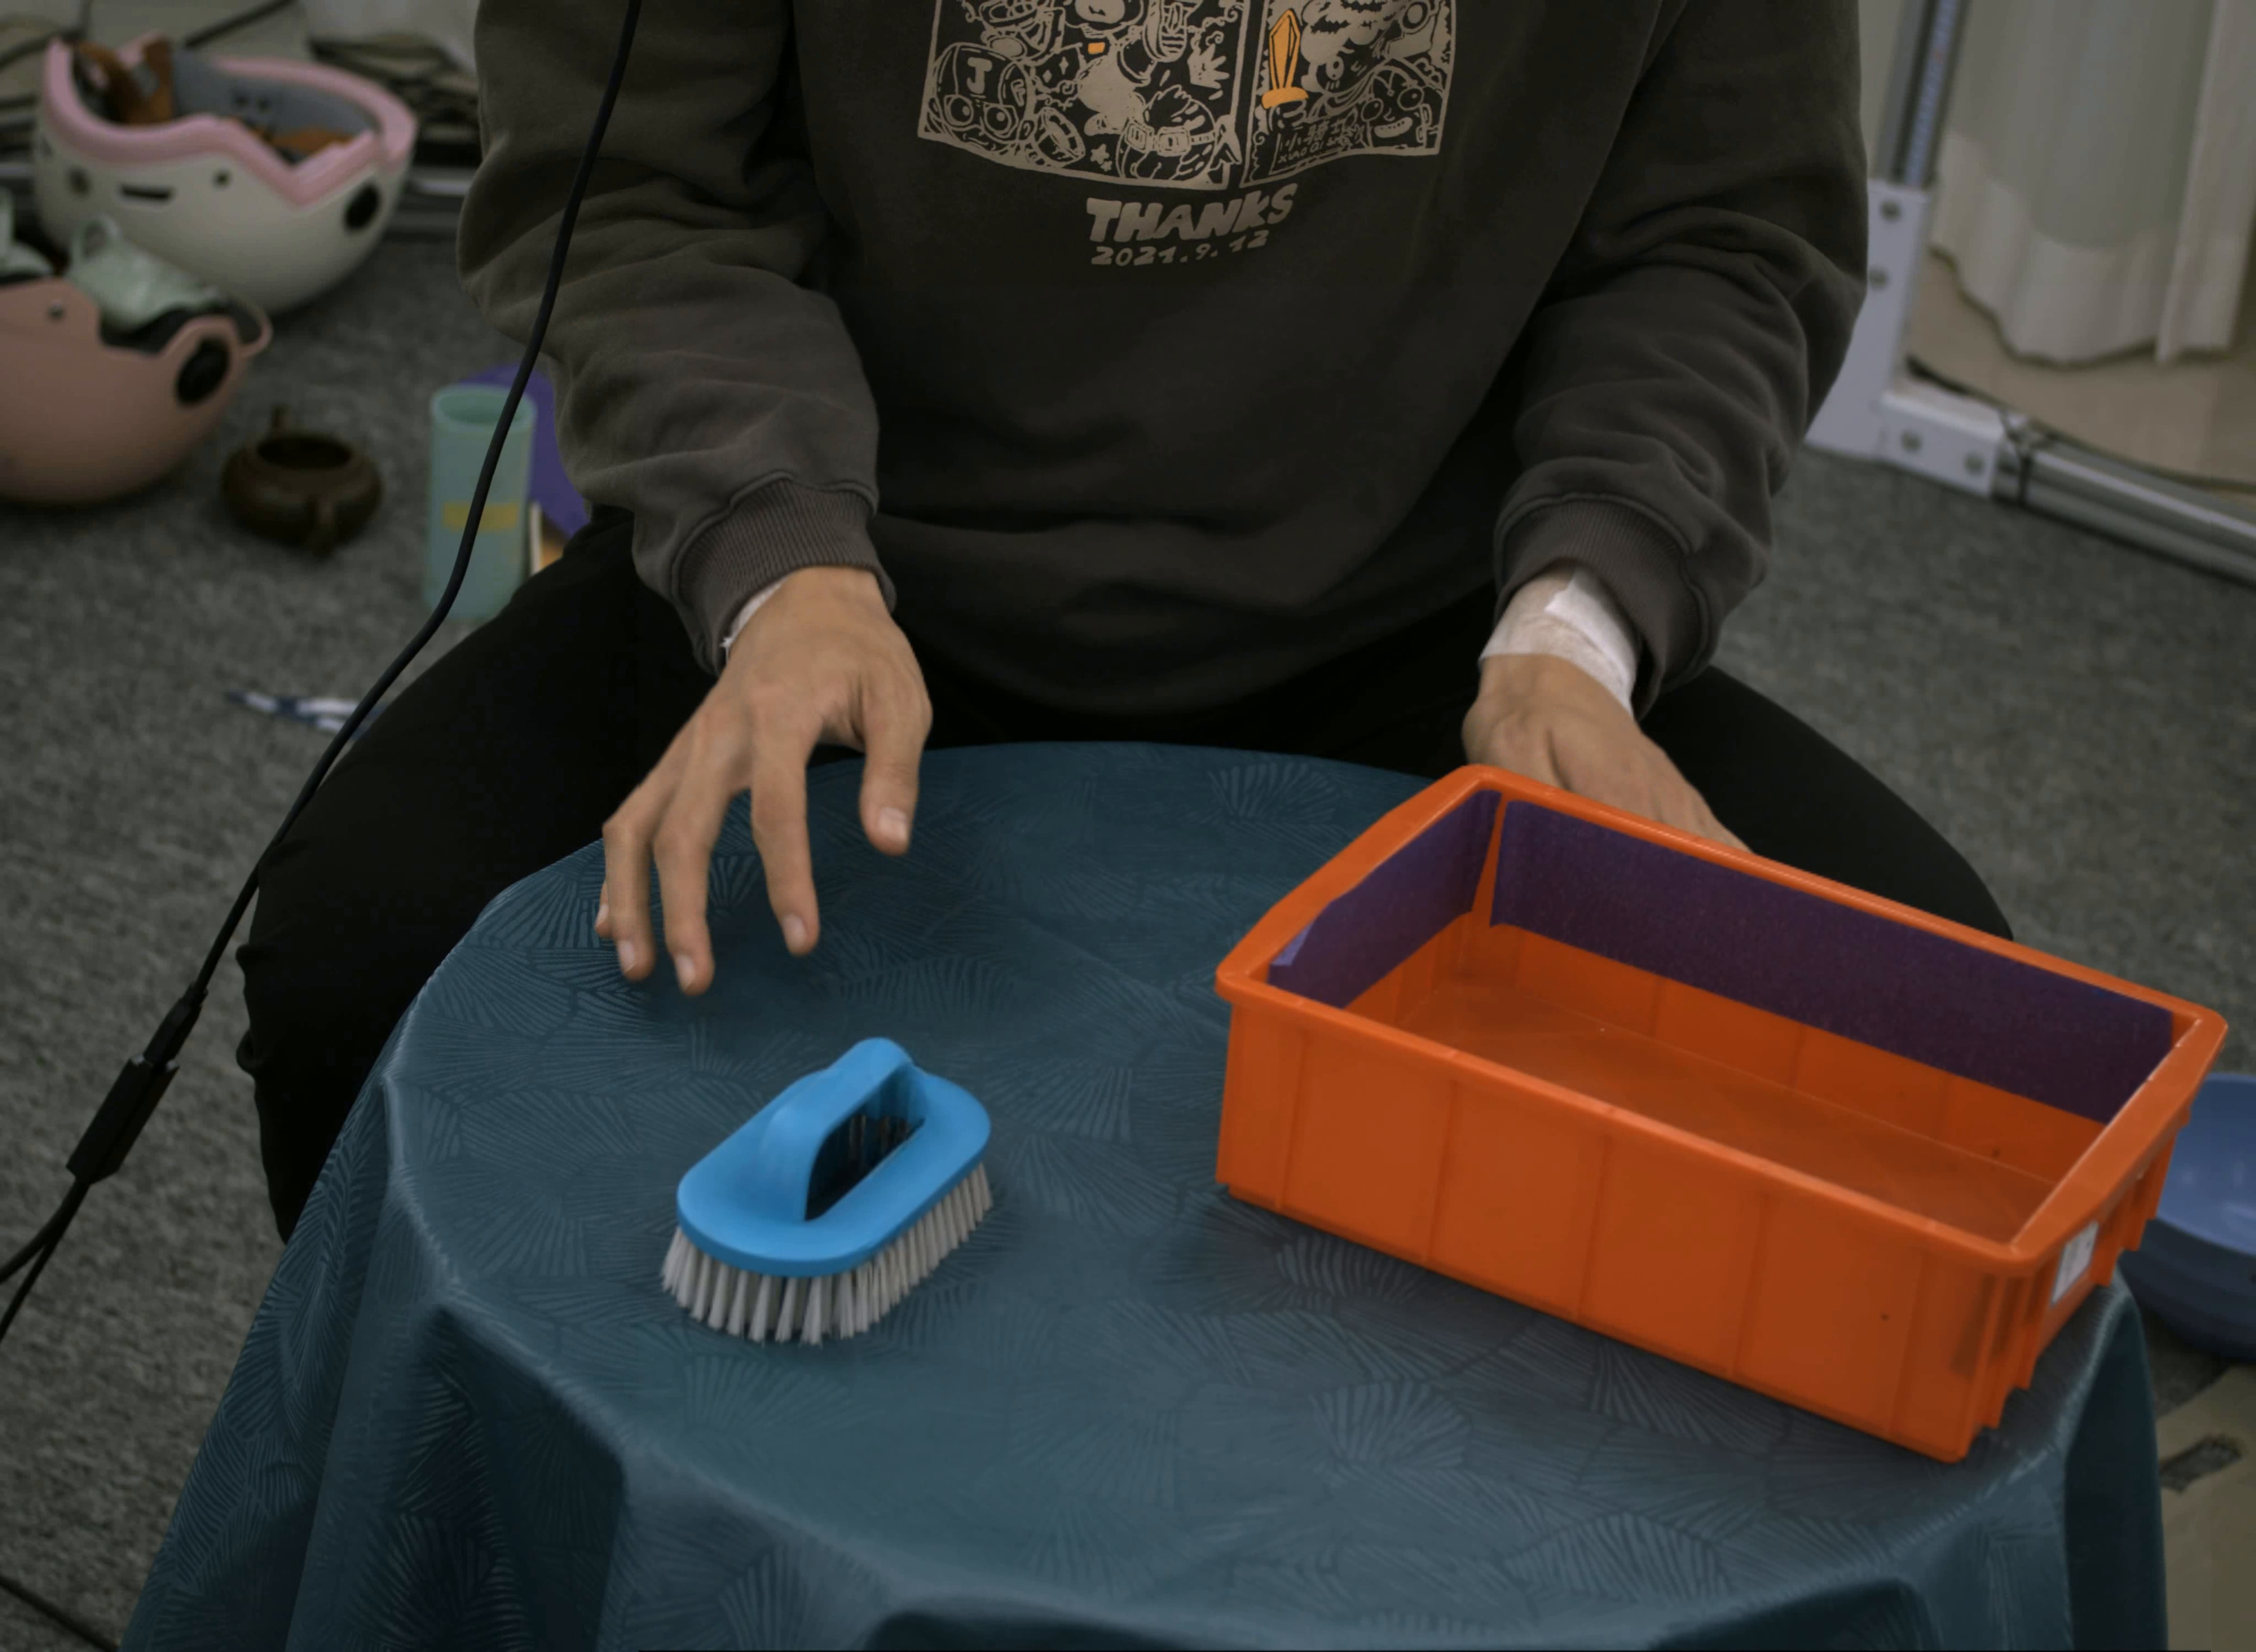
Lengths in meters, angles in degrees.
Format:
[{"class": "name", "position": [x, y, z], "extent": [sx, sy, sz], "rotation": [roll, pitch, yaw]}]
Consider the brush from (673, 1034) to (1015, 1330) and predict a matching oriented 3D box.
[{"class": "brush", "position": [-0.093, 0.108, 1.741], "extent": [0.084, 0.063, 0.141], "rotation": [14, 26, 25]}]

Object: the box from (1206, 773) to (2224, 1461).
[{"class": "box", "position": [0.195, 0.095, 1.809], "extent": [0.305, 0.096, 0.206], "rotation": [20, 29, 24]}]
